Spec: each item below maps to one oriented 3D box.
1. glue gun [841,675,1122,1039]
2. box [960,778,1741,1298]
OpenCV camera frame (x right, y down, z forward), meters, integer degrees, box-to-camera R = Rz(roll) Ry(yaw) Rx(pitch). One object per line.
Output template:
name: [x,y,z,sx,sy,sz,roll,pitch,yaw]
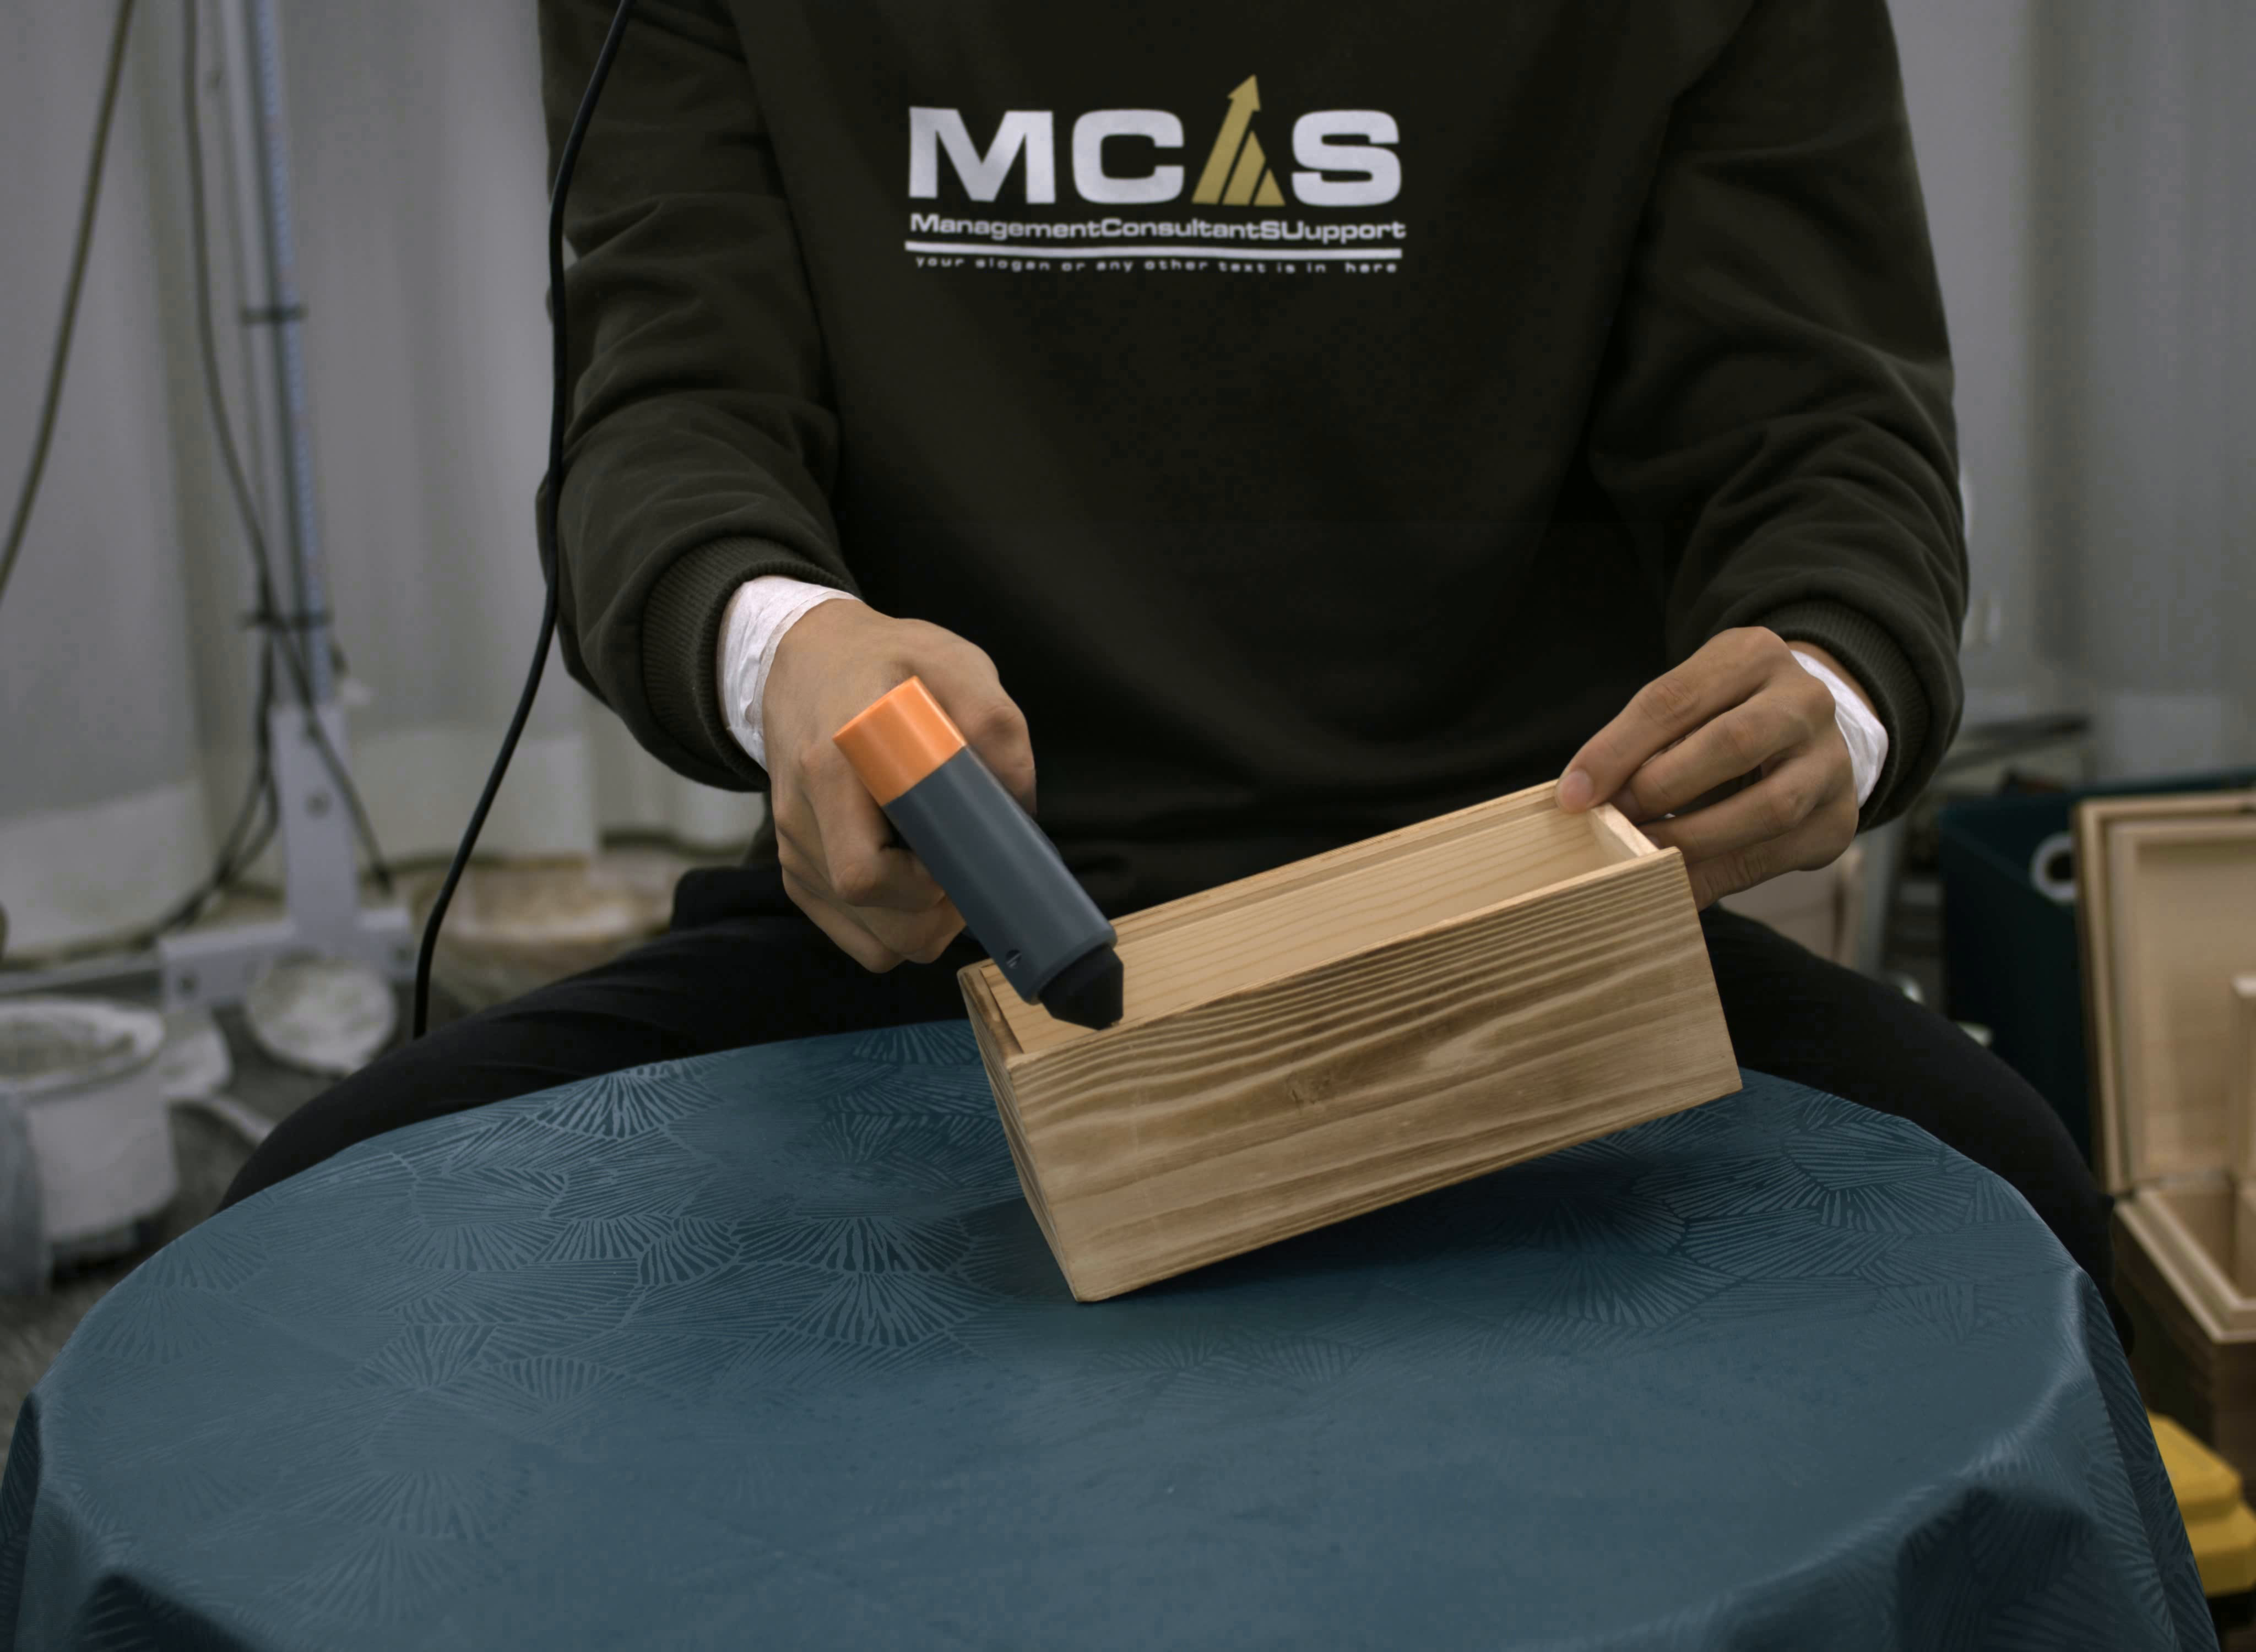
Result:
glue gun: [-0.043,0.010,1.664,0.041,0.118,0.140,-34,5,-3]
box: [0.066,0.062,1.667,0.211,0.080,0.108,-17,15,-6]
